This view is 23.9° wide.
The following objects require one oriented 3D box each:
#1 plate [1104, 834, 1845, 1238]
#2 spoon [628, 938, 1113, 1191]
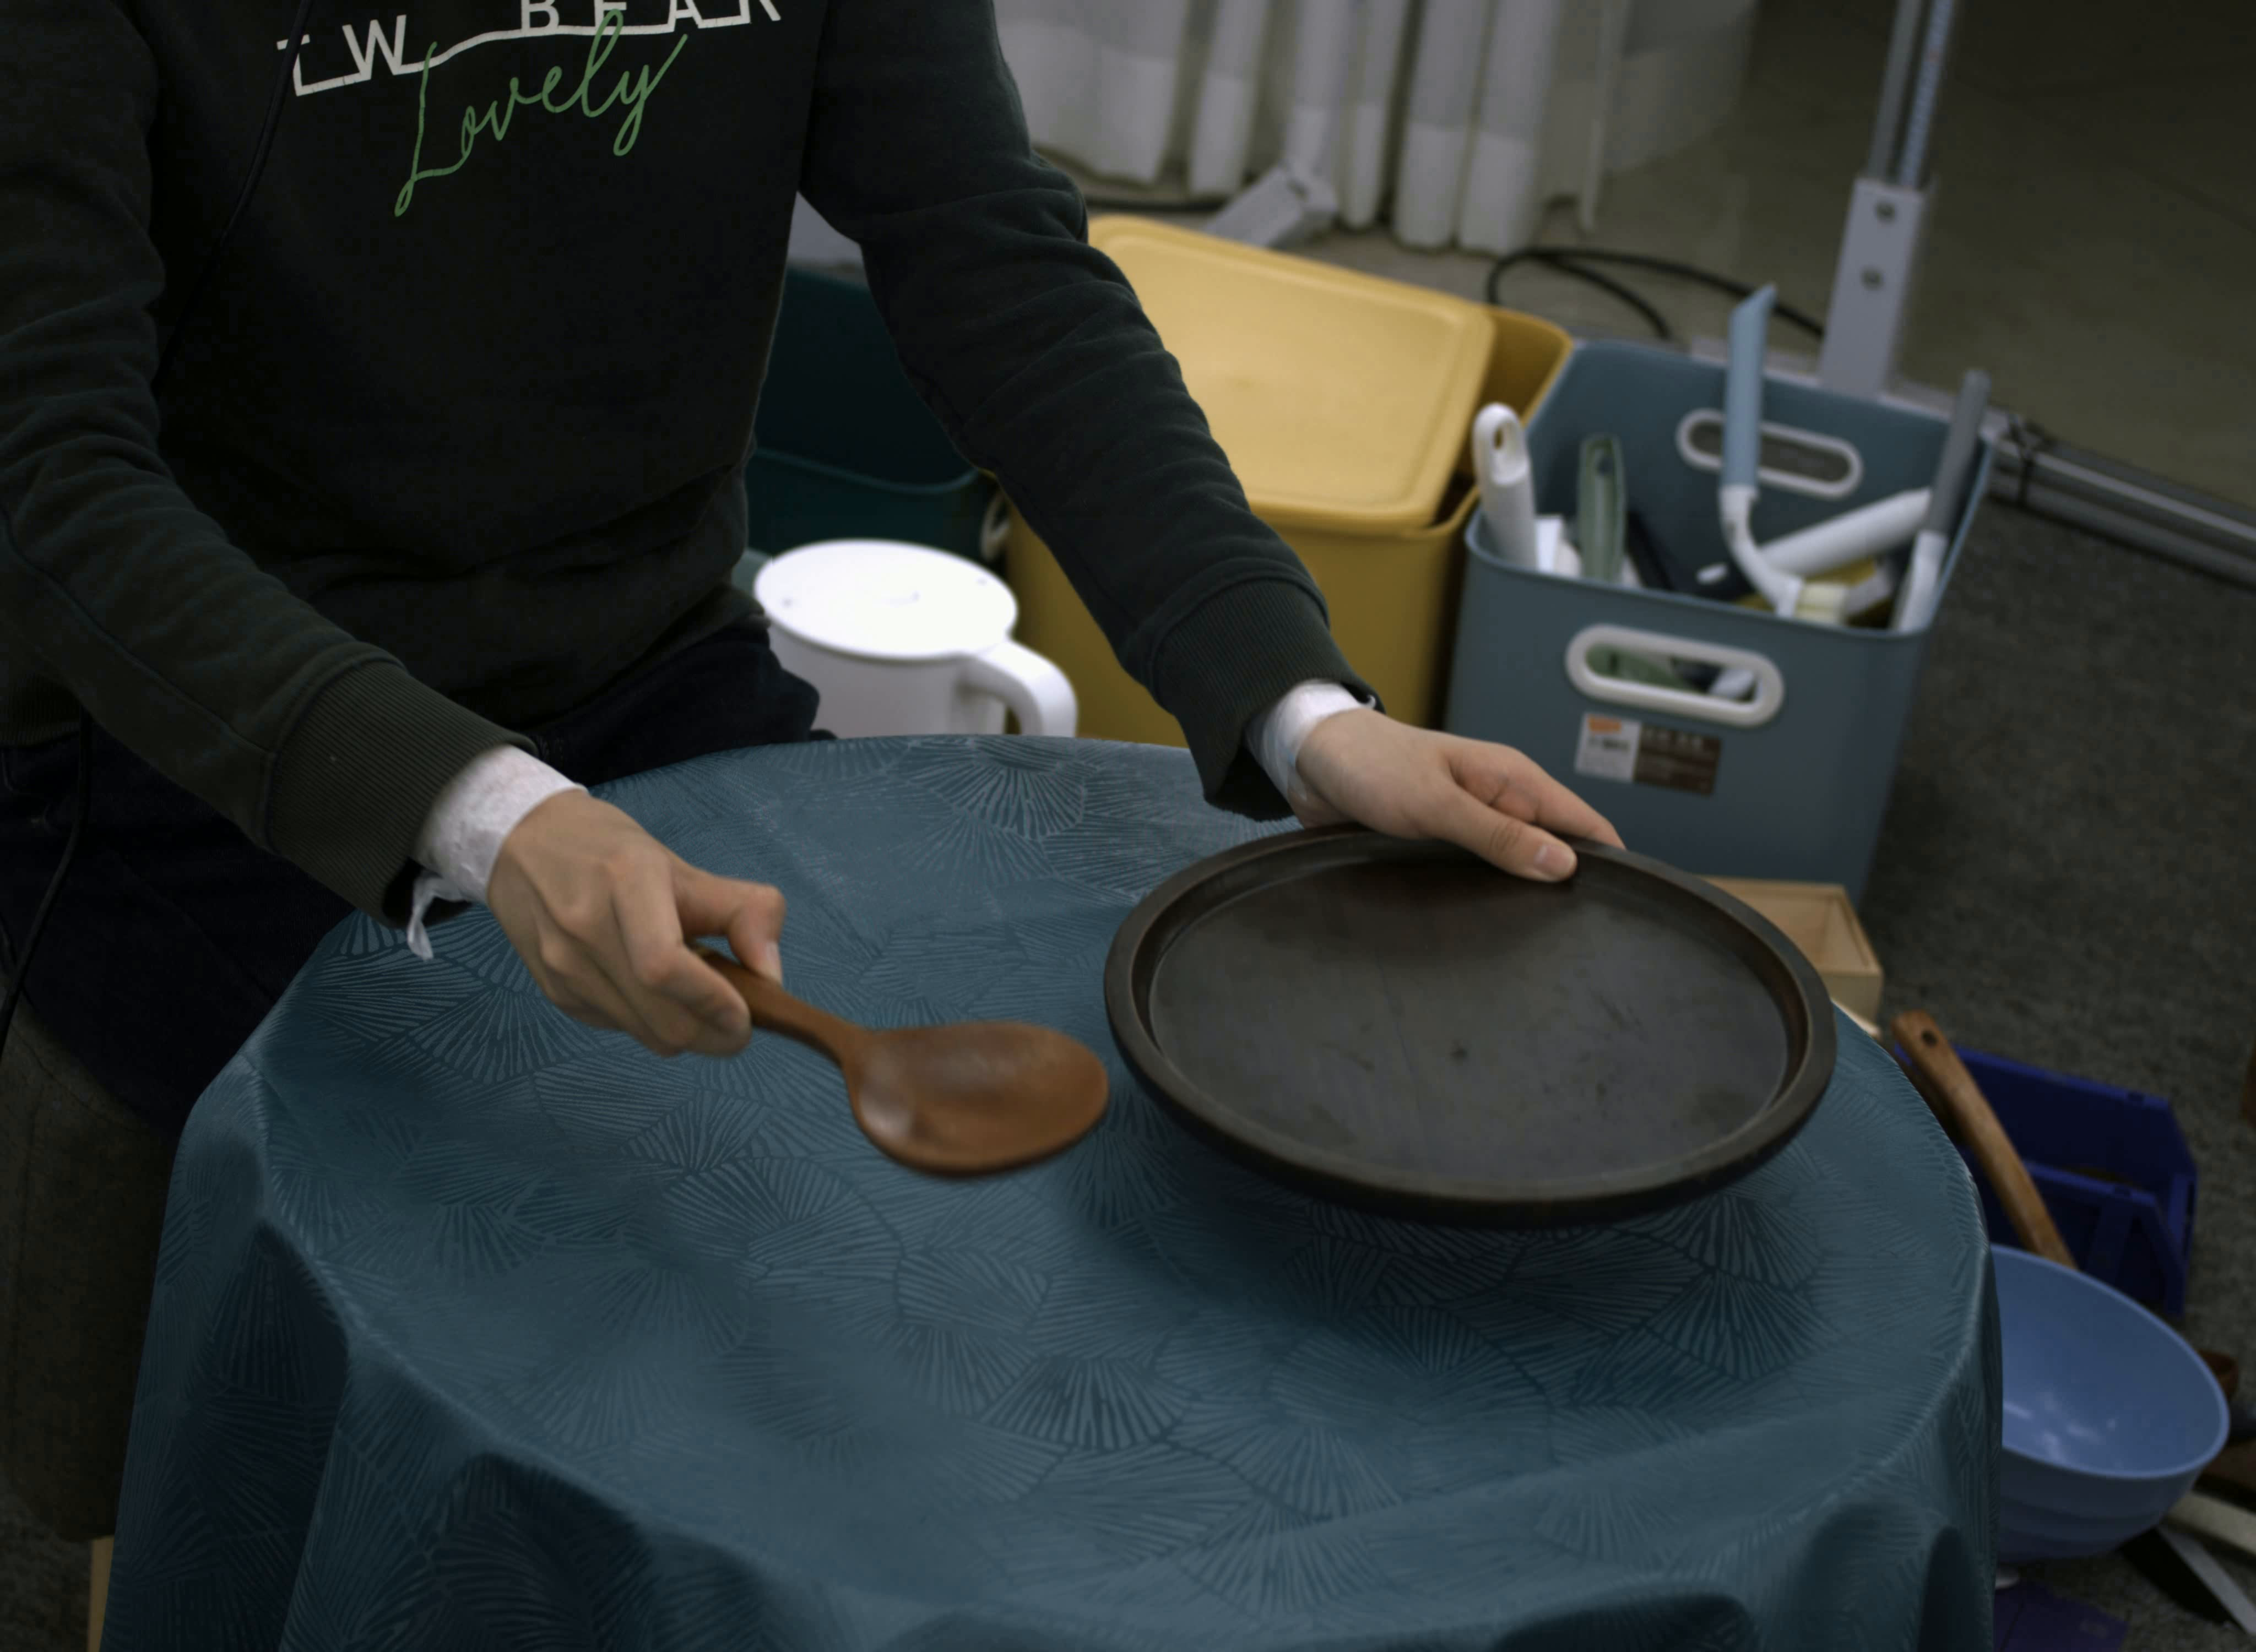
[{"bbox_3d":[0.117,0.069,1.818,0.254,0.029,0.256,3,29,-2],"label":"plate"},{"bbox_3d":[-0.087,0.072,1.685,0.075,0.017,0.217,-34,36,-30],"label":"spoon"}]
